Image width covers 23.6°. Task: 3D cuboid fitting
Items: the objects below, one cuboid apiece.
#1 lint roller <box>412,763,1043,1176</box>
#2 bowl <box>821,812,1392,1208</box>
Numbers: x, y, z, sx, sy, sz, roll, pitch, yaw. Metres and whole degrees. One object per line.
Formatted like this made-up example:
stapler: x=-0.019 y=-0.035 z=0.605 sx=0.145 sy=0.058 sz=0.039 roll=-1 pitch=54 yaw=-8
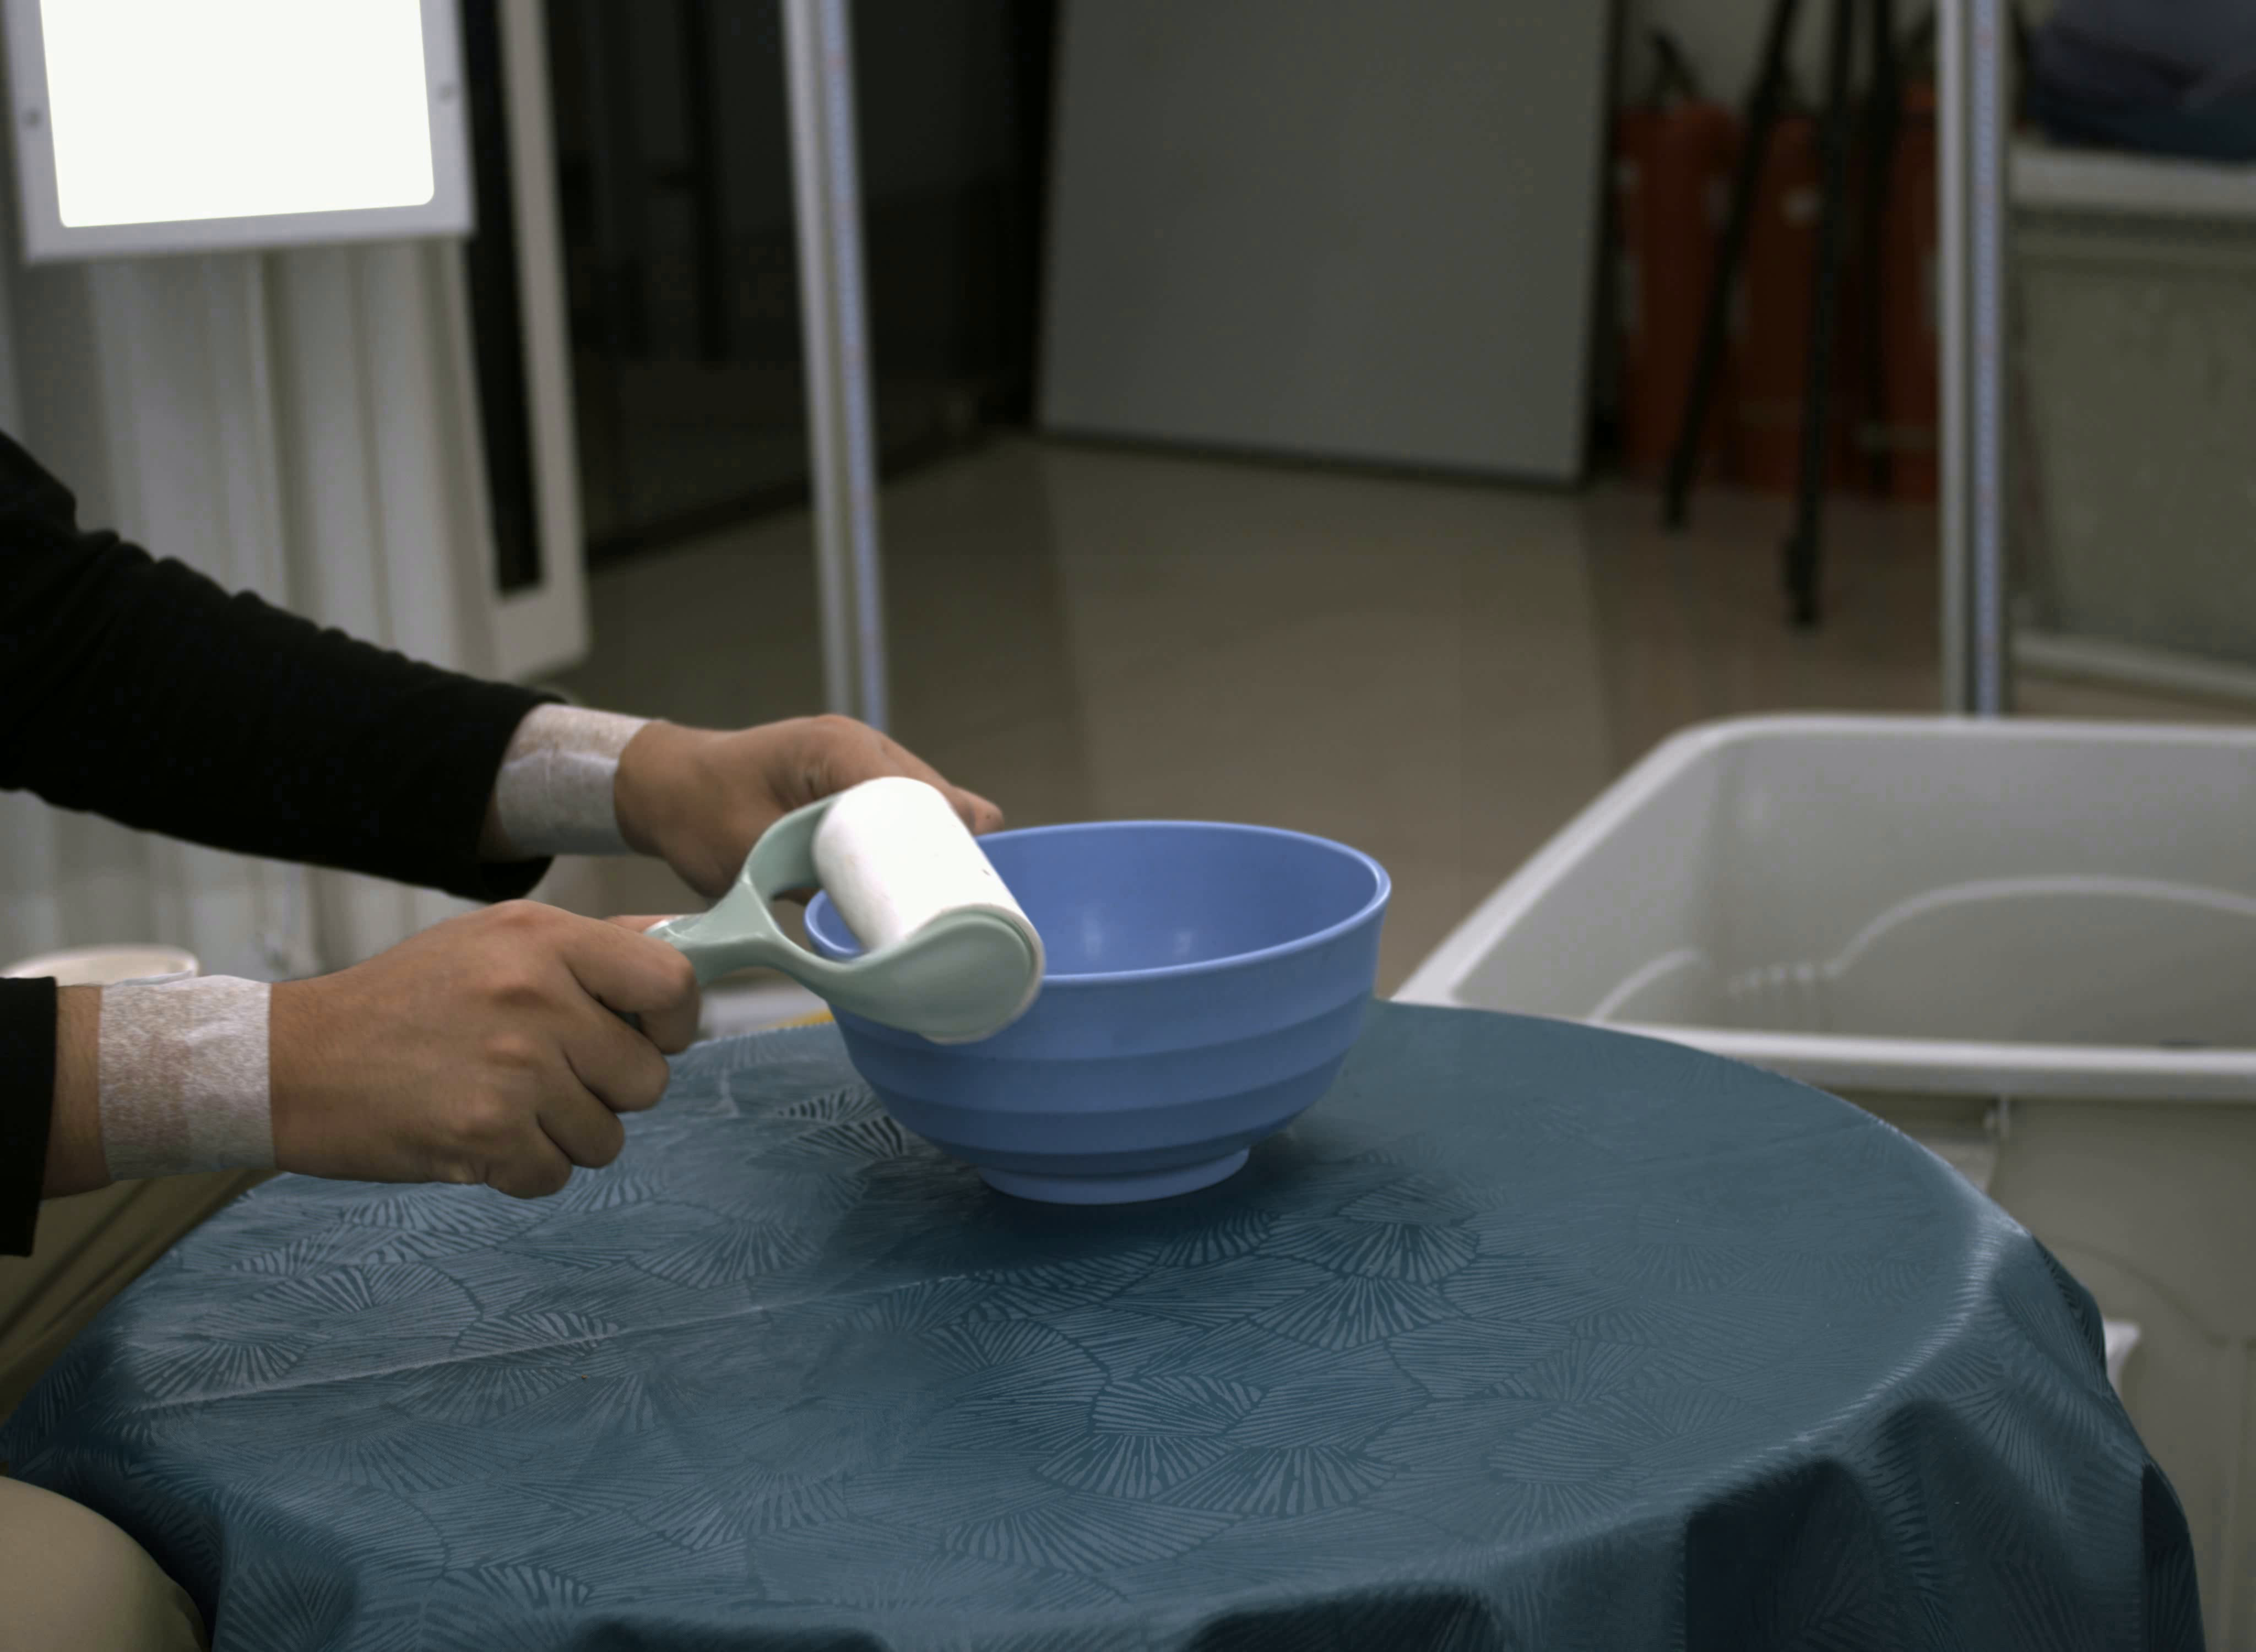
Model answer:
lint roller: x=-0.129 y=0.047 z=1.636 sx=0.195 sy=0.048 sz=0.118 roll=-21 pitch=28 yaw=-7
bowl: x=-0.007 y=0.067 z=1.790 sx=0.194 sy=0.096 sz=0.197 roll=-4 pitch=15 yaw=0
